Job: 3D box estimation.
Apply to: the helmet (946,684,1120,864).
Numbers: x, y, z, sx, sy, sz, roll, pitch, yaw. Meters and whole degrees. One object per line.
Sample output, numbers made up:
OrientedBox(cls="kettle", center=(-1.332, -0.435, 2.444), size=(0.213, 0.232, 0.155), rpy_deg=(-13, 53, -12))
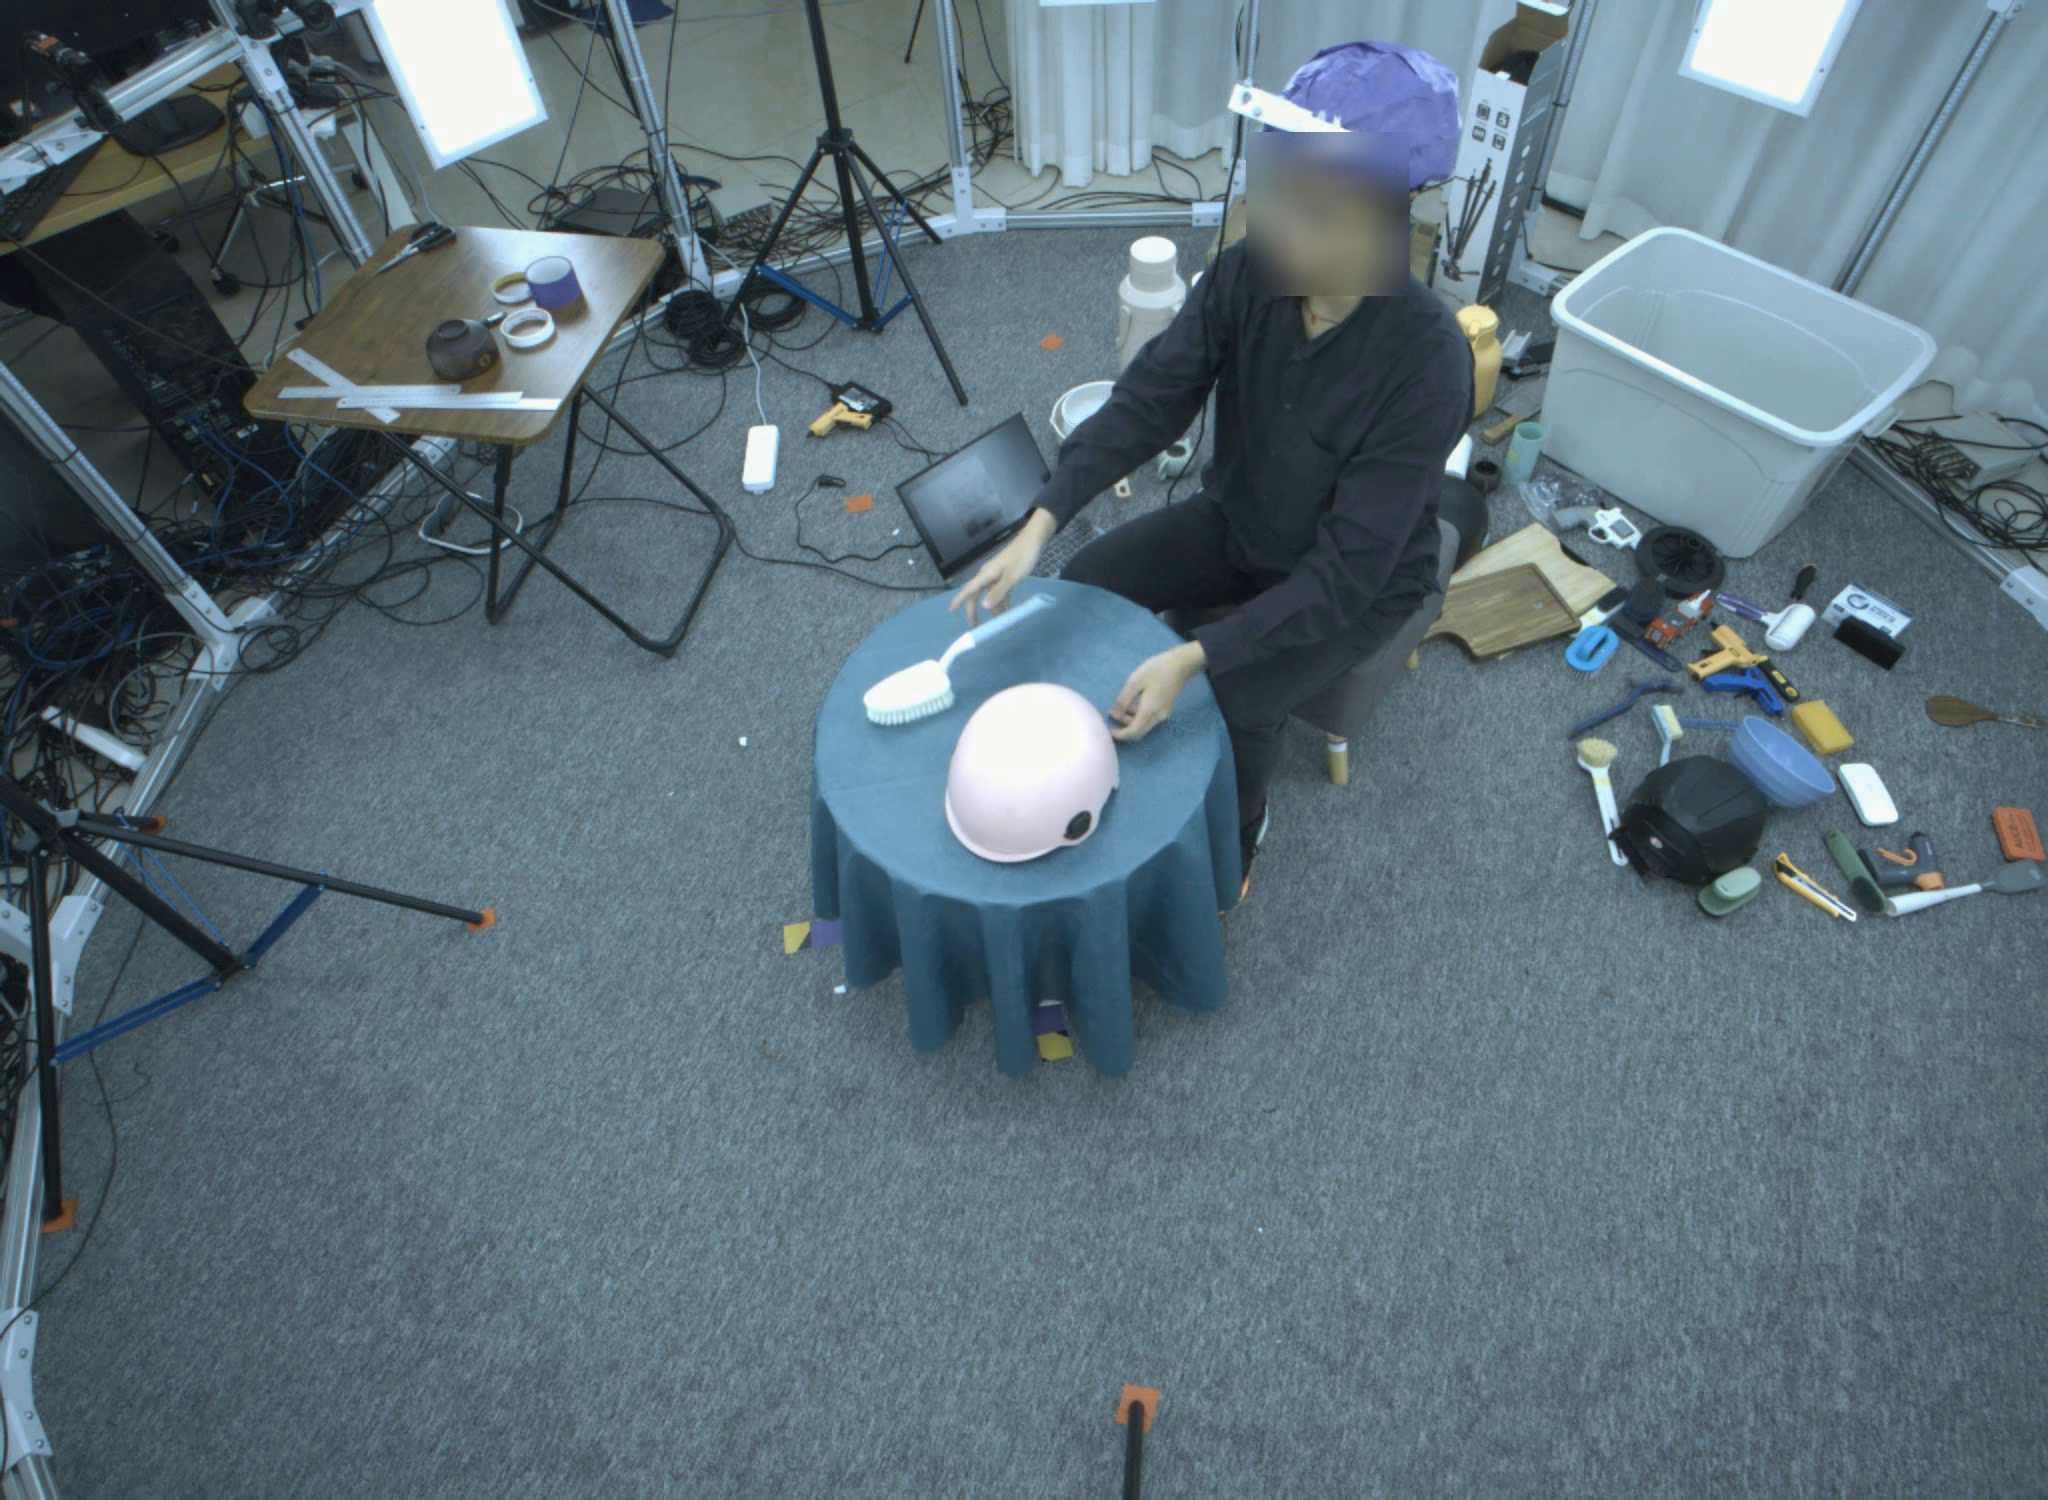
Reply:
OrientedBox(cls="helmet", center=(0.004, 0.014, 1.686), size=(0.230, 0.161, 0.267), rpy_deg=(32, 66, 22))

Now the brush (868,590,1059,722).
OrientedBox(cls="brush", center=(-0.082, -0.130, 1.831), size=(0.326, 0.084, 0.083), rpy_deg=(-30, 94, -4))
